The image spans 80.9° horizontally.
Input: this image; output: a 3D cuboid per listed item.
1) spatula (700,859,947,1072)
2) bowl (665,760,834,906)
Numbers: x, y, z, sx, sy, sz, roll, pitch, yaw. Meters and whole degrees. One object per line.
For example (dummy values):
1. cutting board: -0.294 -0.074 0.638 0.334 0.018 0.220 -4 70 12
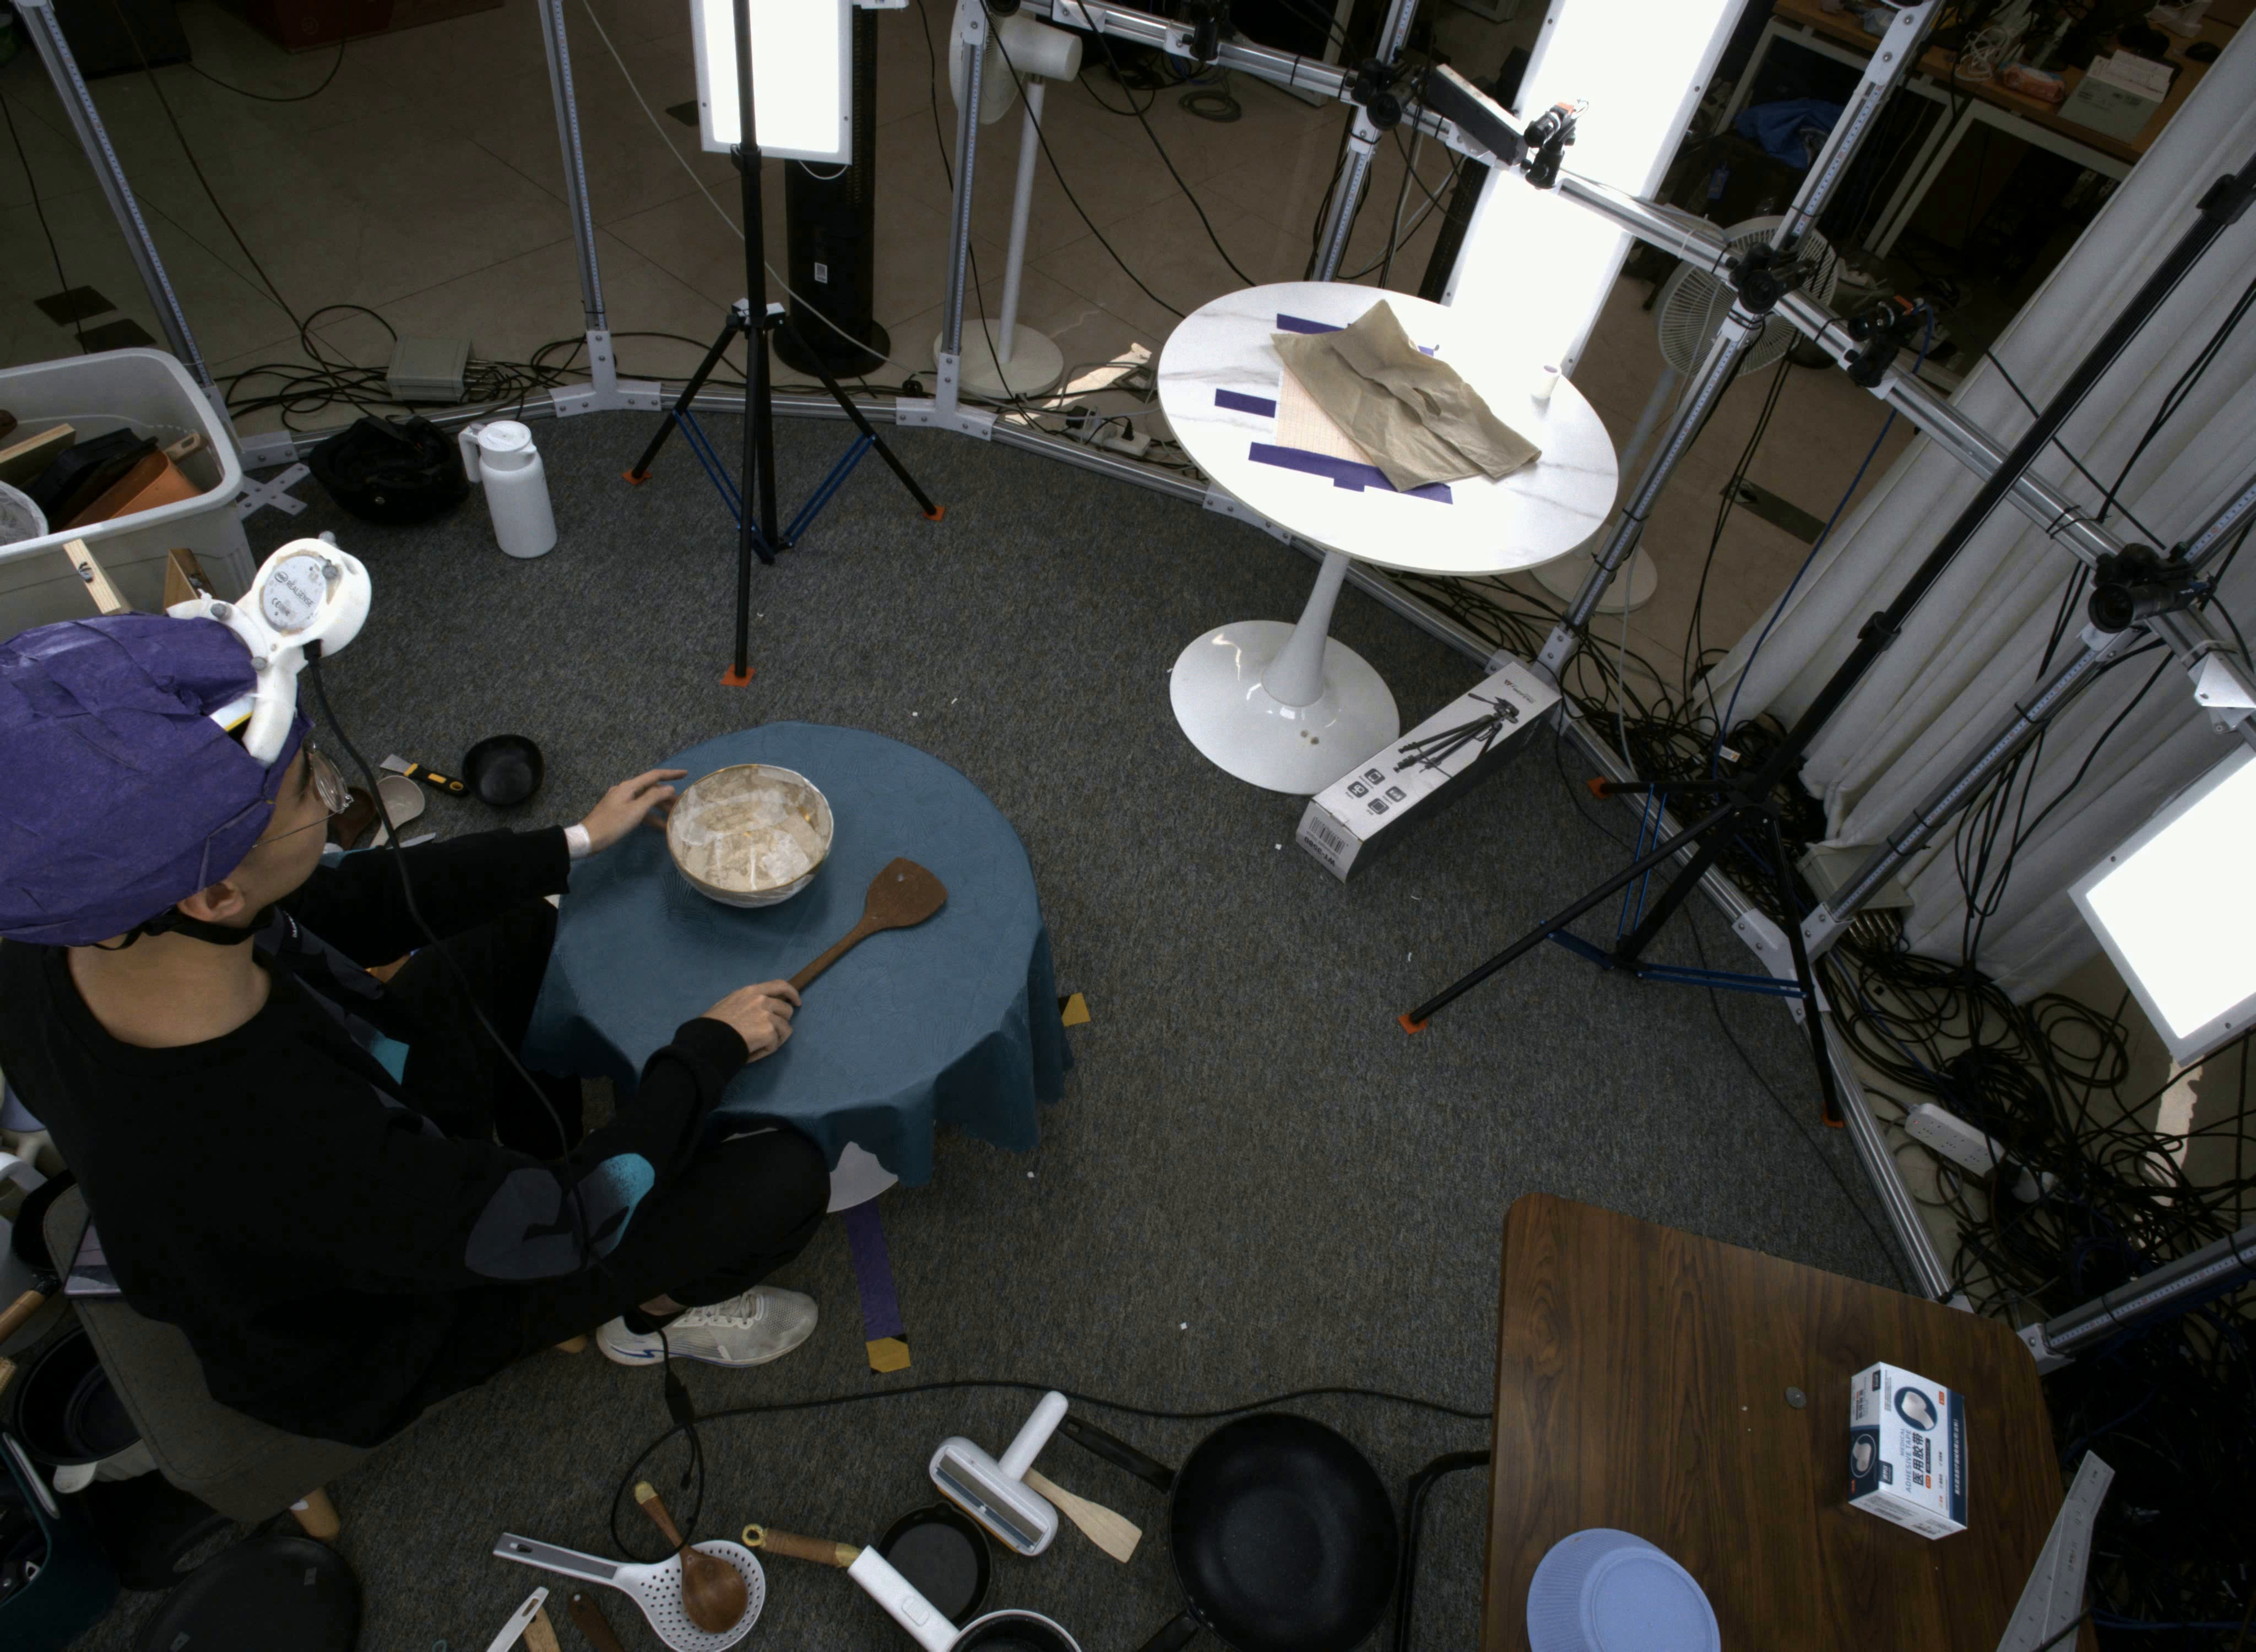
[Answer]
1. spatula: -0.378 0.169 1.606 0.094 0.016 0.386 37 54 14
2. bowl: -0.478 0.023 1.637 0.214 0.096 0.211 8 54 -9
